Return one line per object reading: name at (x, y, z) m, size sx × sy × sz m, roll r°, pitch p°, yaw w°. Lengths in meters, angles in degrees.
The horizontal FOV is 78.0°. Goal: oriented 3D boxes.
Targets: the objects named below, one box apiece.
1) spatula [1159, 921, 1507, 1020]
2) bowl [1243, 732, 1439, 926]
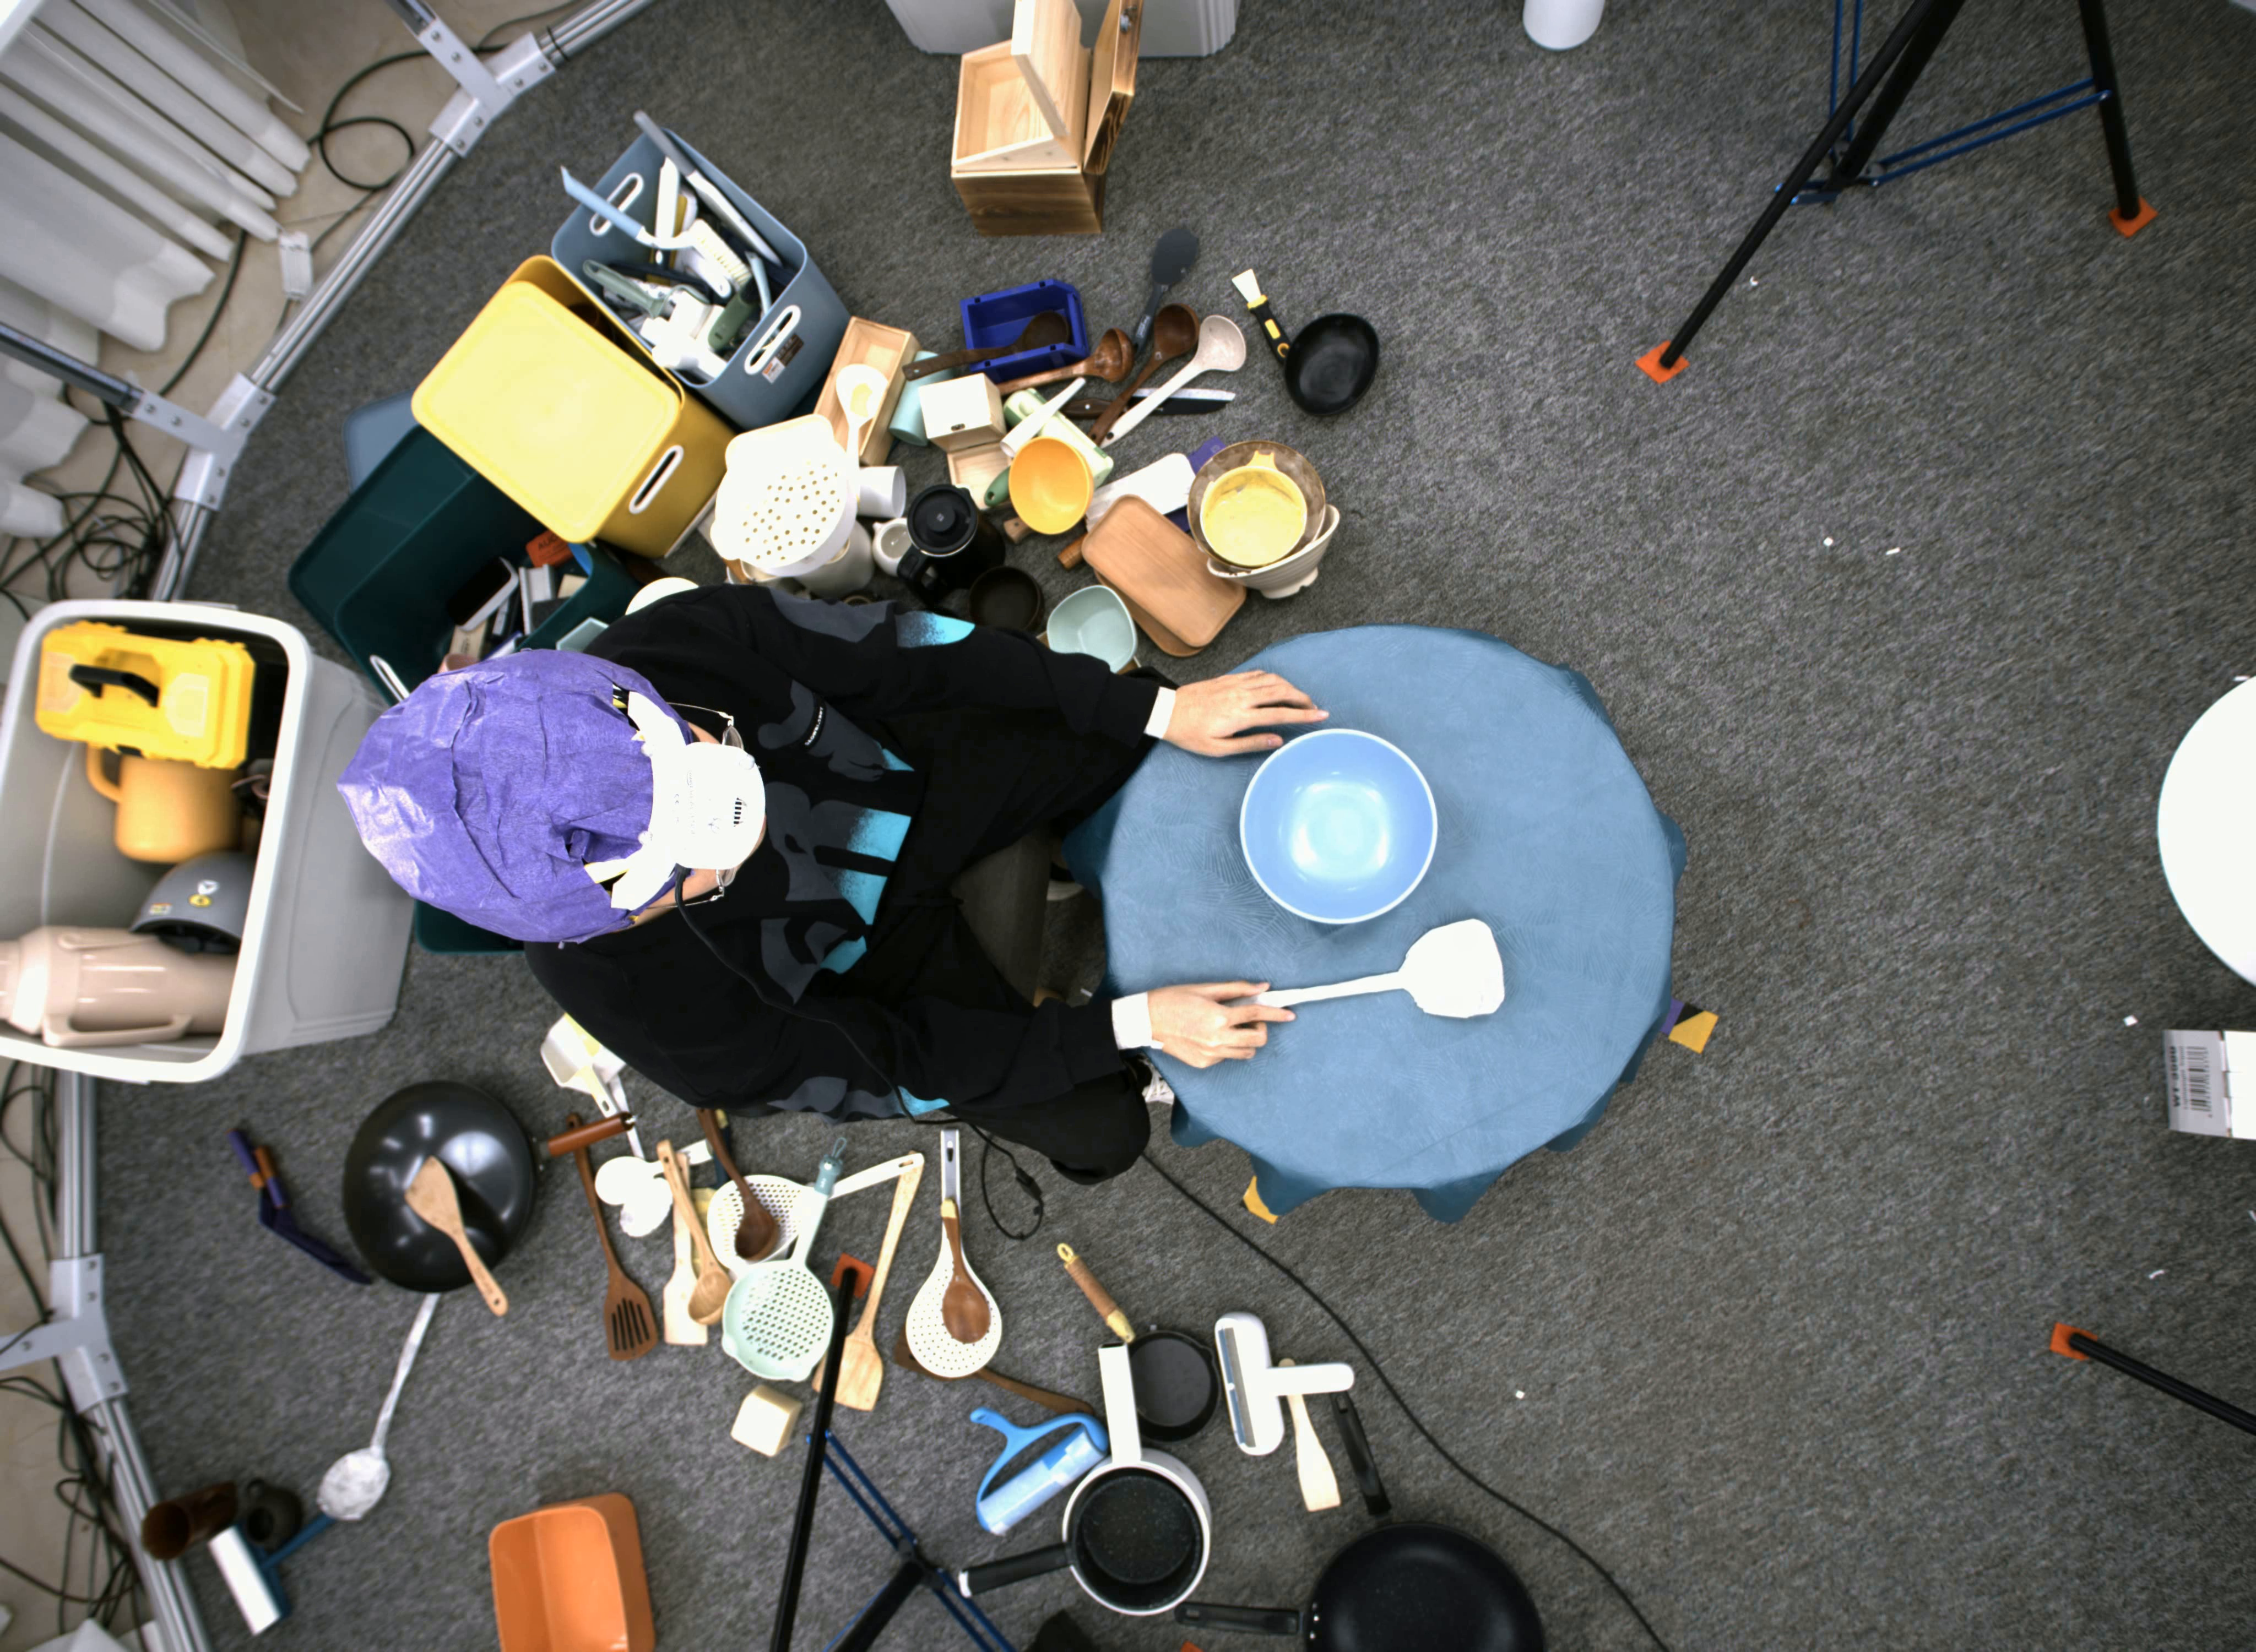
spatula at (0.209, 0.171, 1.450) m, size 0.367 × 0.045 × 0.098 m, roll -9°, pitch 84°, yaw 9°
bowl at (0.220, 0.006, 1.431) m, size 0.197 × 0.095 × 0.195 m, roll -1°, pitch 87°, yaw 10°
